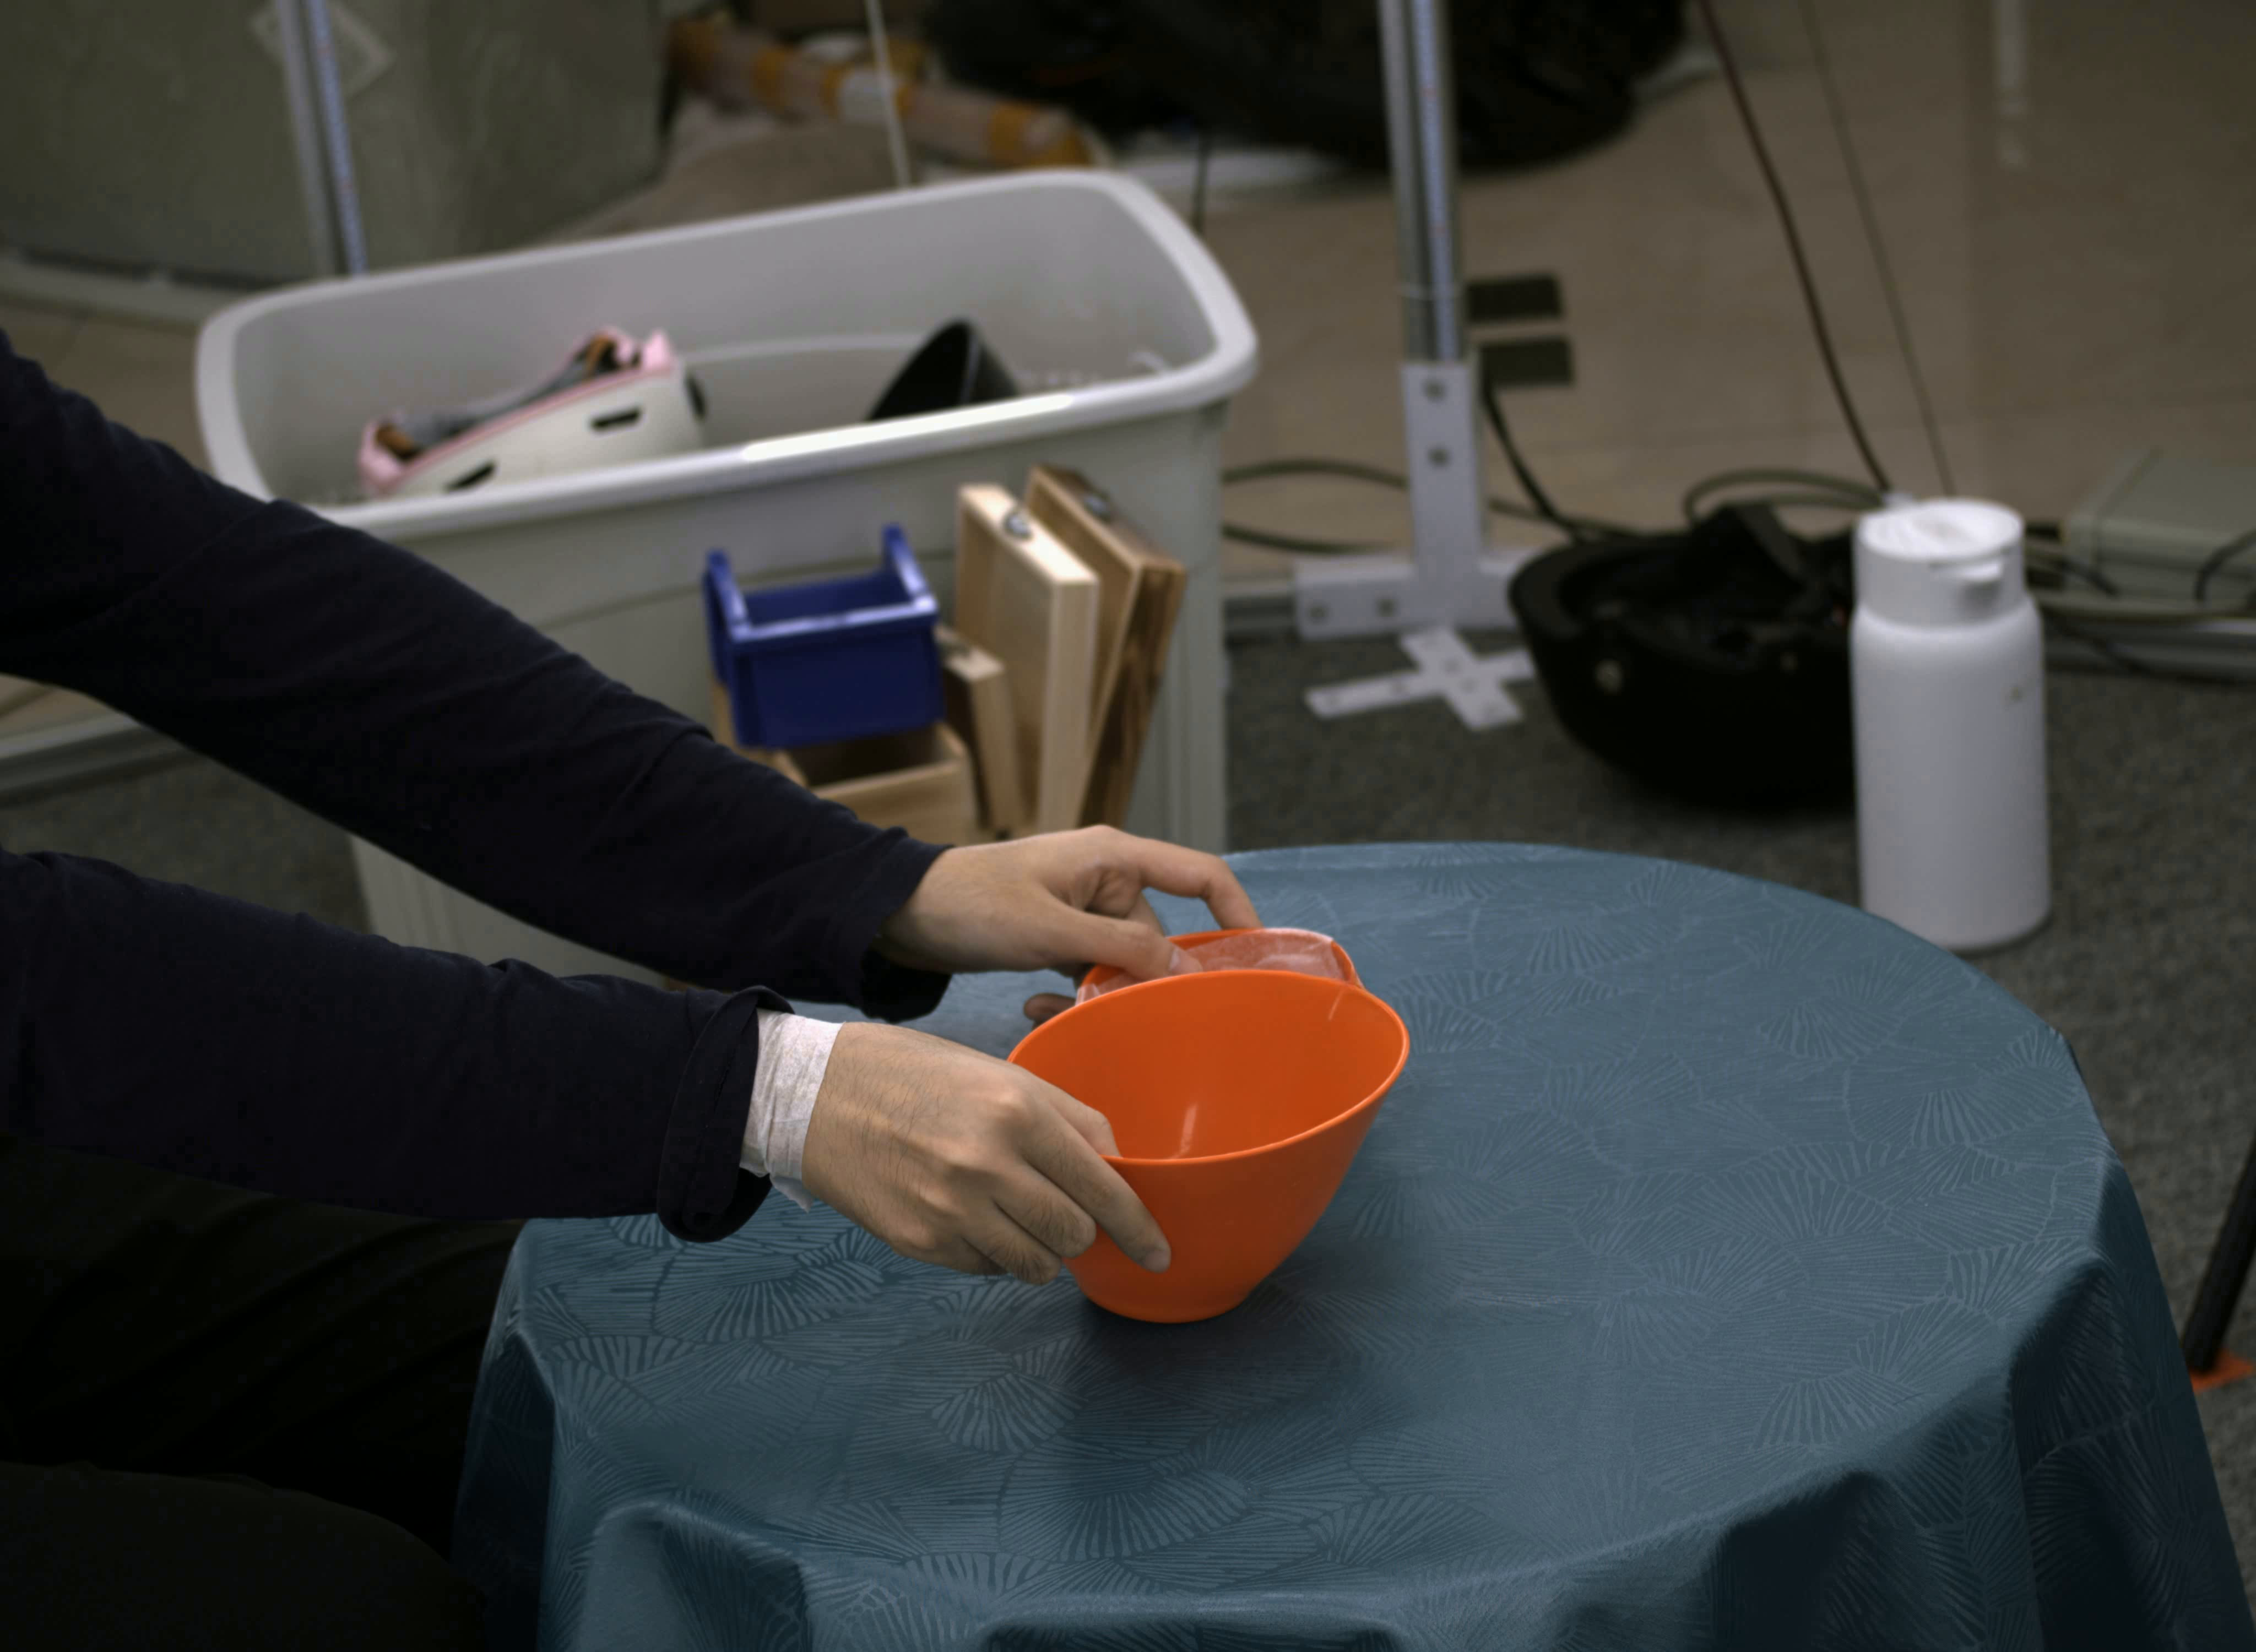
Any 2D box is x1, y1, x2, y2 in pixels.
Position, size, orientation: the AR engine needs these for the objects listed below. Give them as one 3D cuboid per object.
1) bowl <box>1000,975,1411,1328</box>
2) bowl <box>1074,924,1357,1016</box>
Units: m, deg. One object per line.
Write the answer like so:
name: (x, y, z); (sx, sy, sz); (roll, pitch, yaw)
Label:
bowl: (0.026, 0.123, 2.054); (0.148, 0.106, 0.145); (2, 28, -1)
bowl: (0.036, 0.085, 2.197); (0.119, 0.052, 0.117); (-5, 26, 3)
